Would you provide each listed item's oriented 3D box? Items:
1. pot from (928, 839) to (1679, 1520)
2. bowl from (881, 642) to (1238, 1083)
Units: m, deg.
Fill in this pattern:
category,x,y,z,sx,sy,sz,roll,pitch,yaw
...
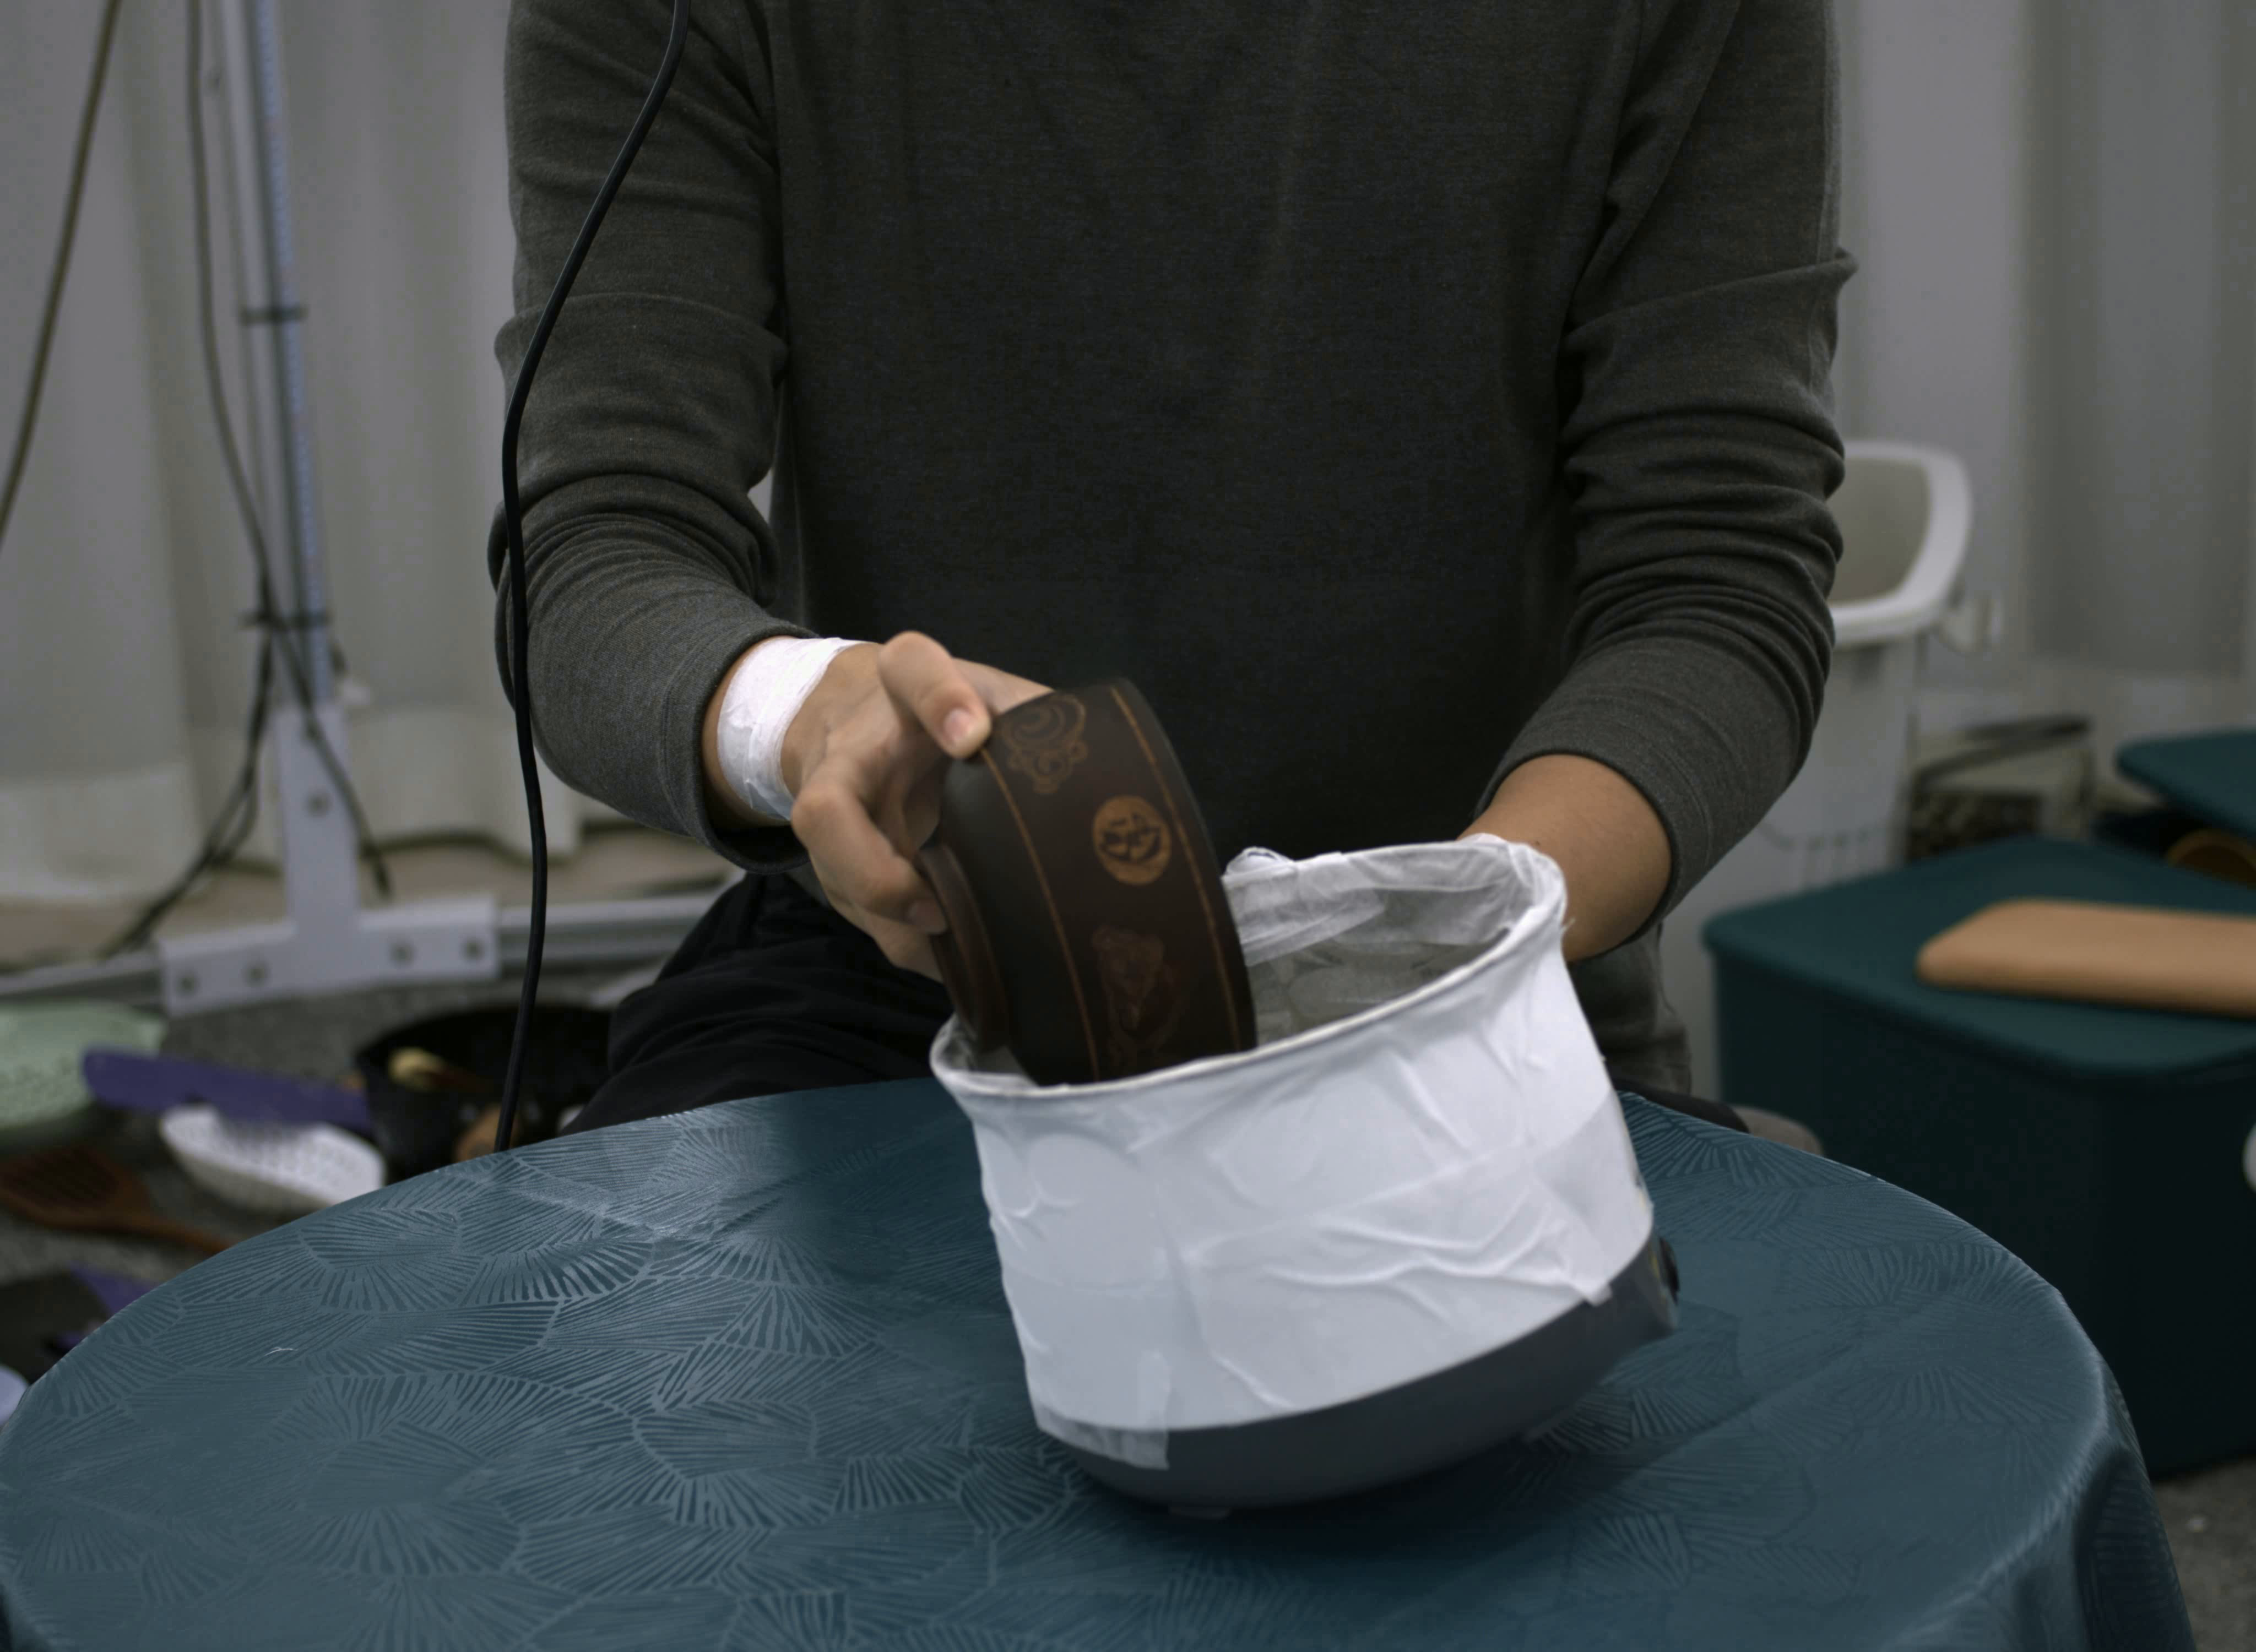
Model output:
category,x,y,z,sx,sy,sz,roll,pitch,yaw
pot,0.049,0.088,1.501,0.178,0.136,0.235,-15,13,5
bowl,-0.025,0.015,1.479,0.069,0.117,0.119,-19,19,-16
